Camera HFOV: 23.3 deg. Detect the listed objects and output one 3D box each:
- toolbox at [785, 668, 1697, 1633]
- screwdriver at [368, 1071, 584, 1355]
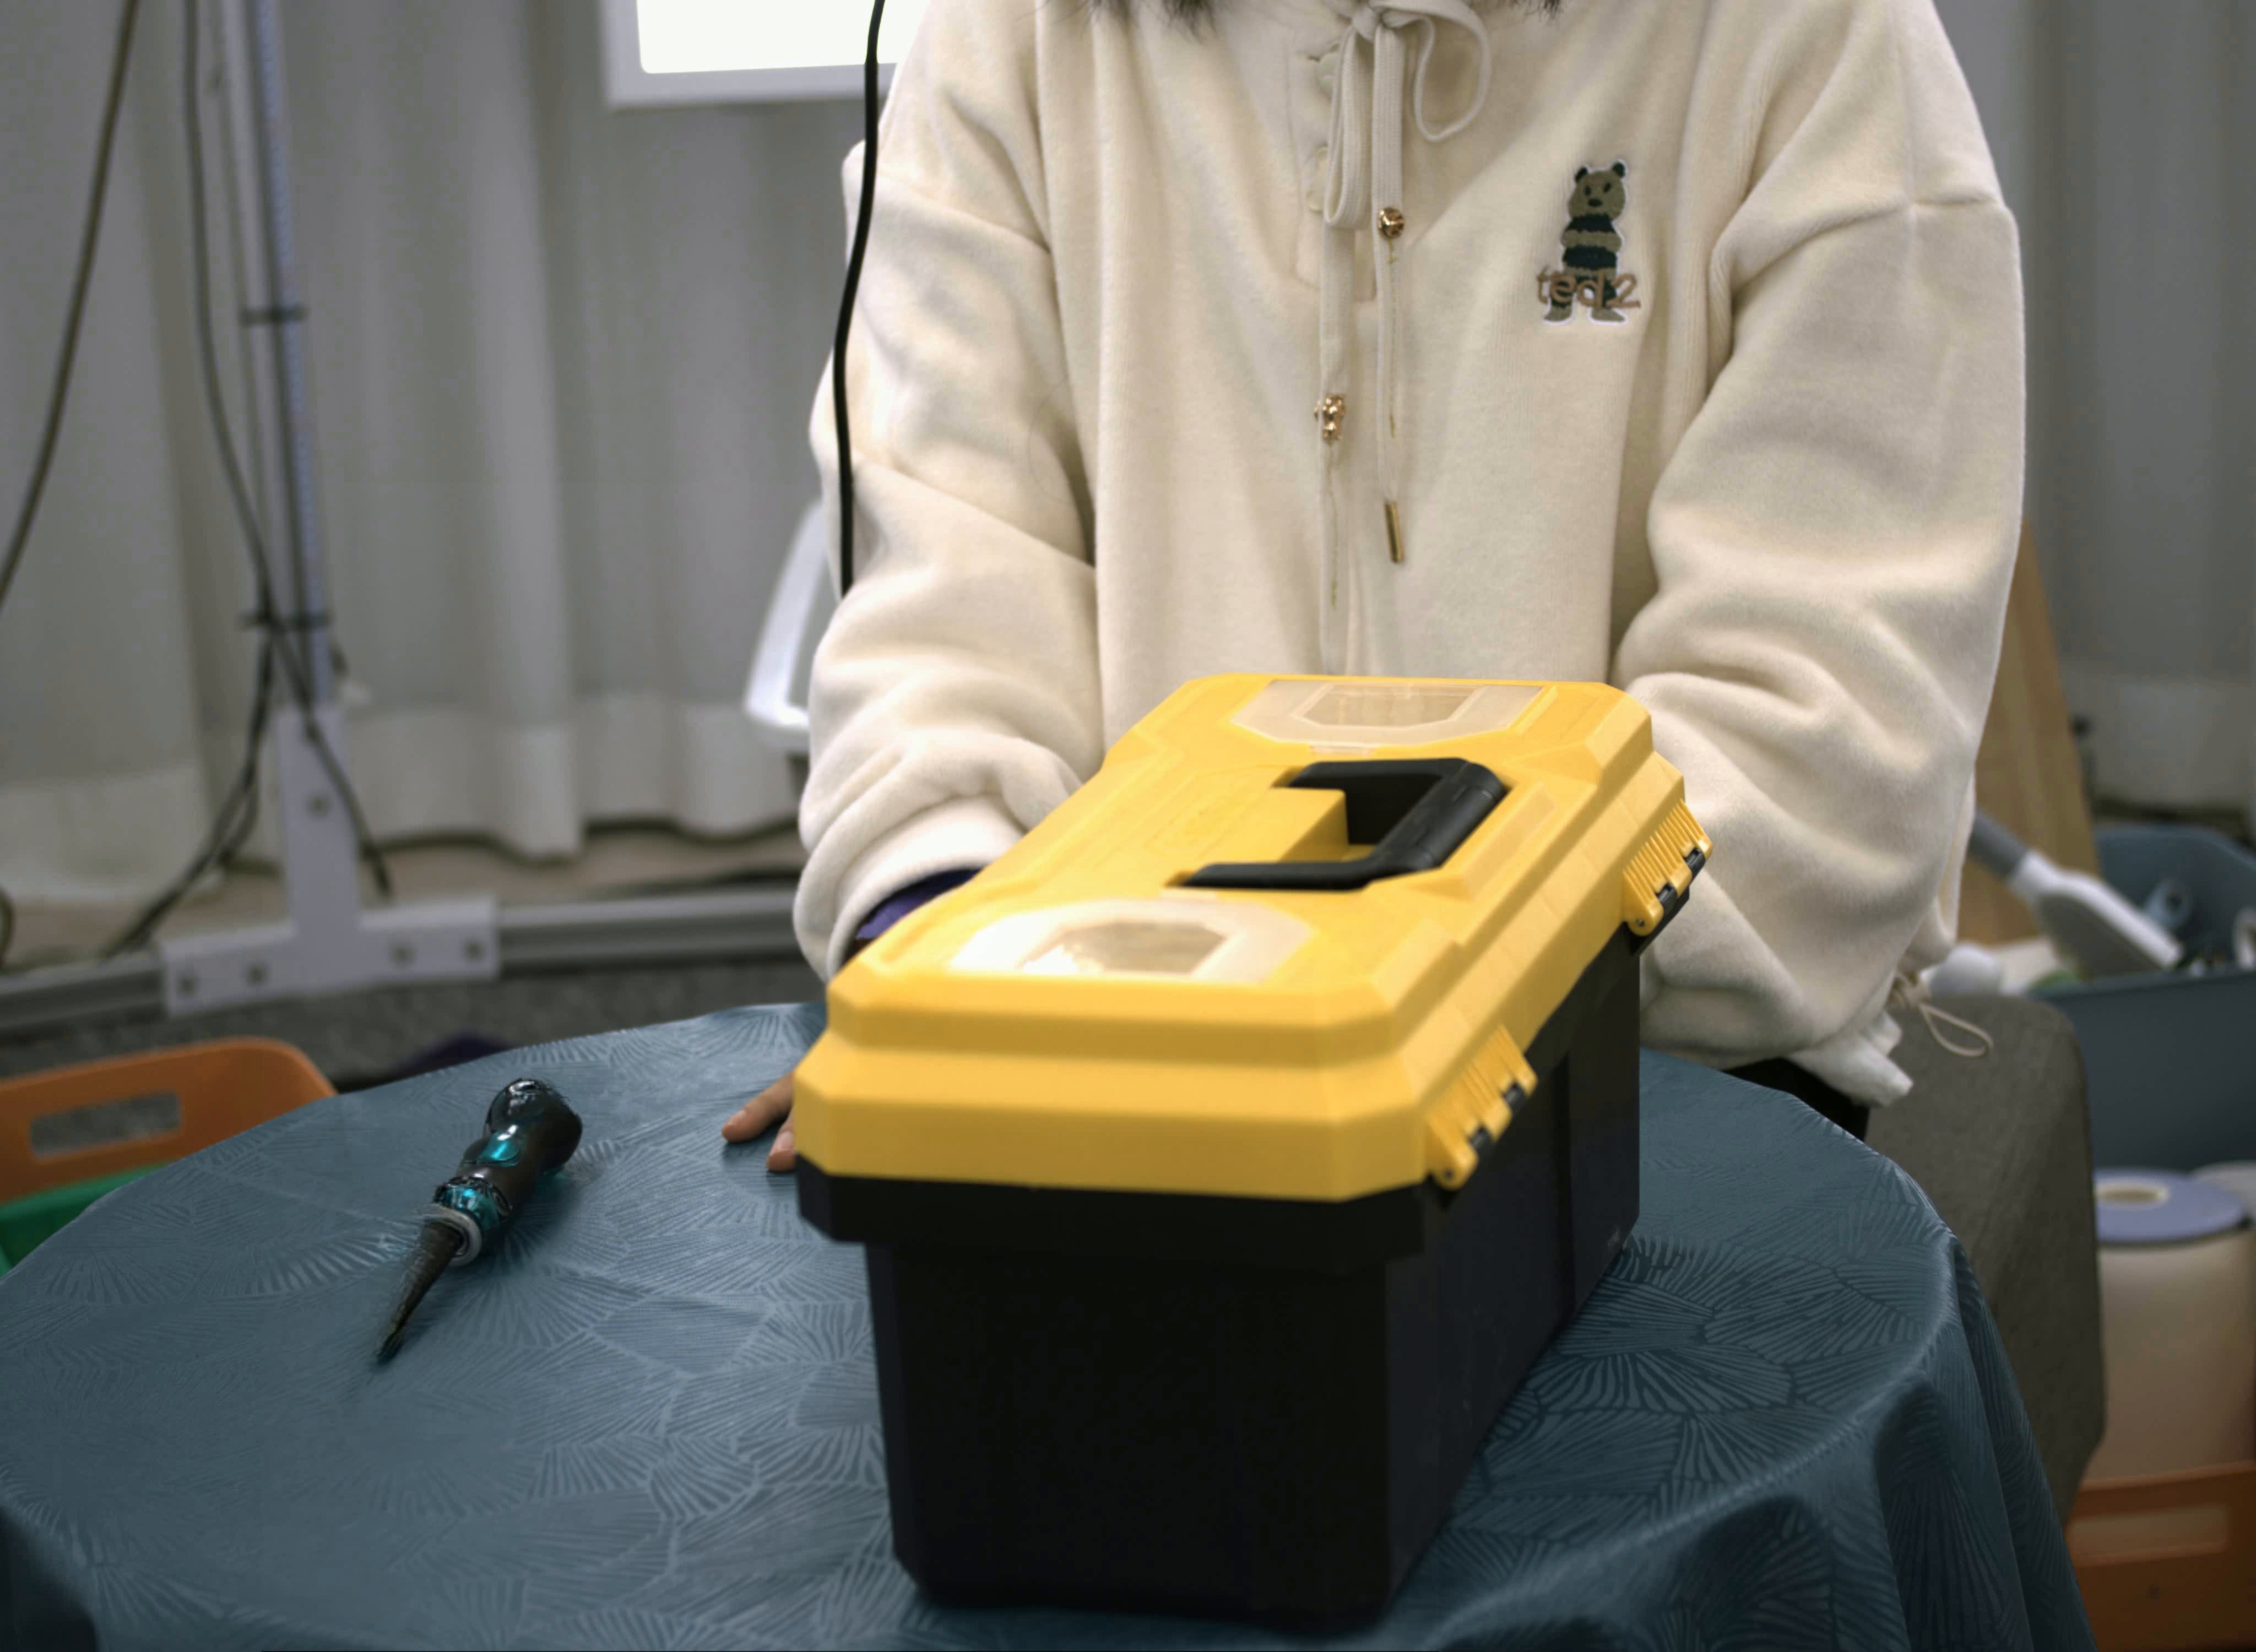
[{"bbox_3d":[0.043,0.078,1.506,0.181,0.172,0.353,2,15,18],"label":"toolbox"},{"bbox_3d":[-0.204,0.122,1.686,0.033,0.033,0.191,0,20,11],"label":"screwdriver"}]
